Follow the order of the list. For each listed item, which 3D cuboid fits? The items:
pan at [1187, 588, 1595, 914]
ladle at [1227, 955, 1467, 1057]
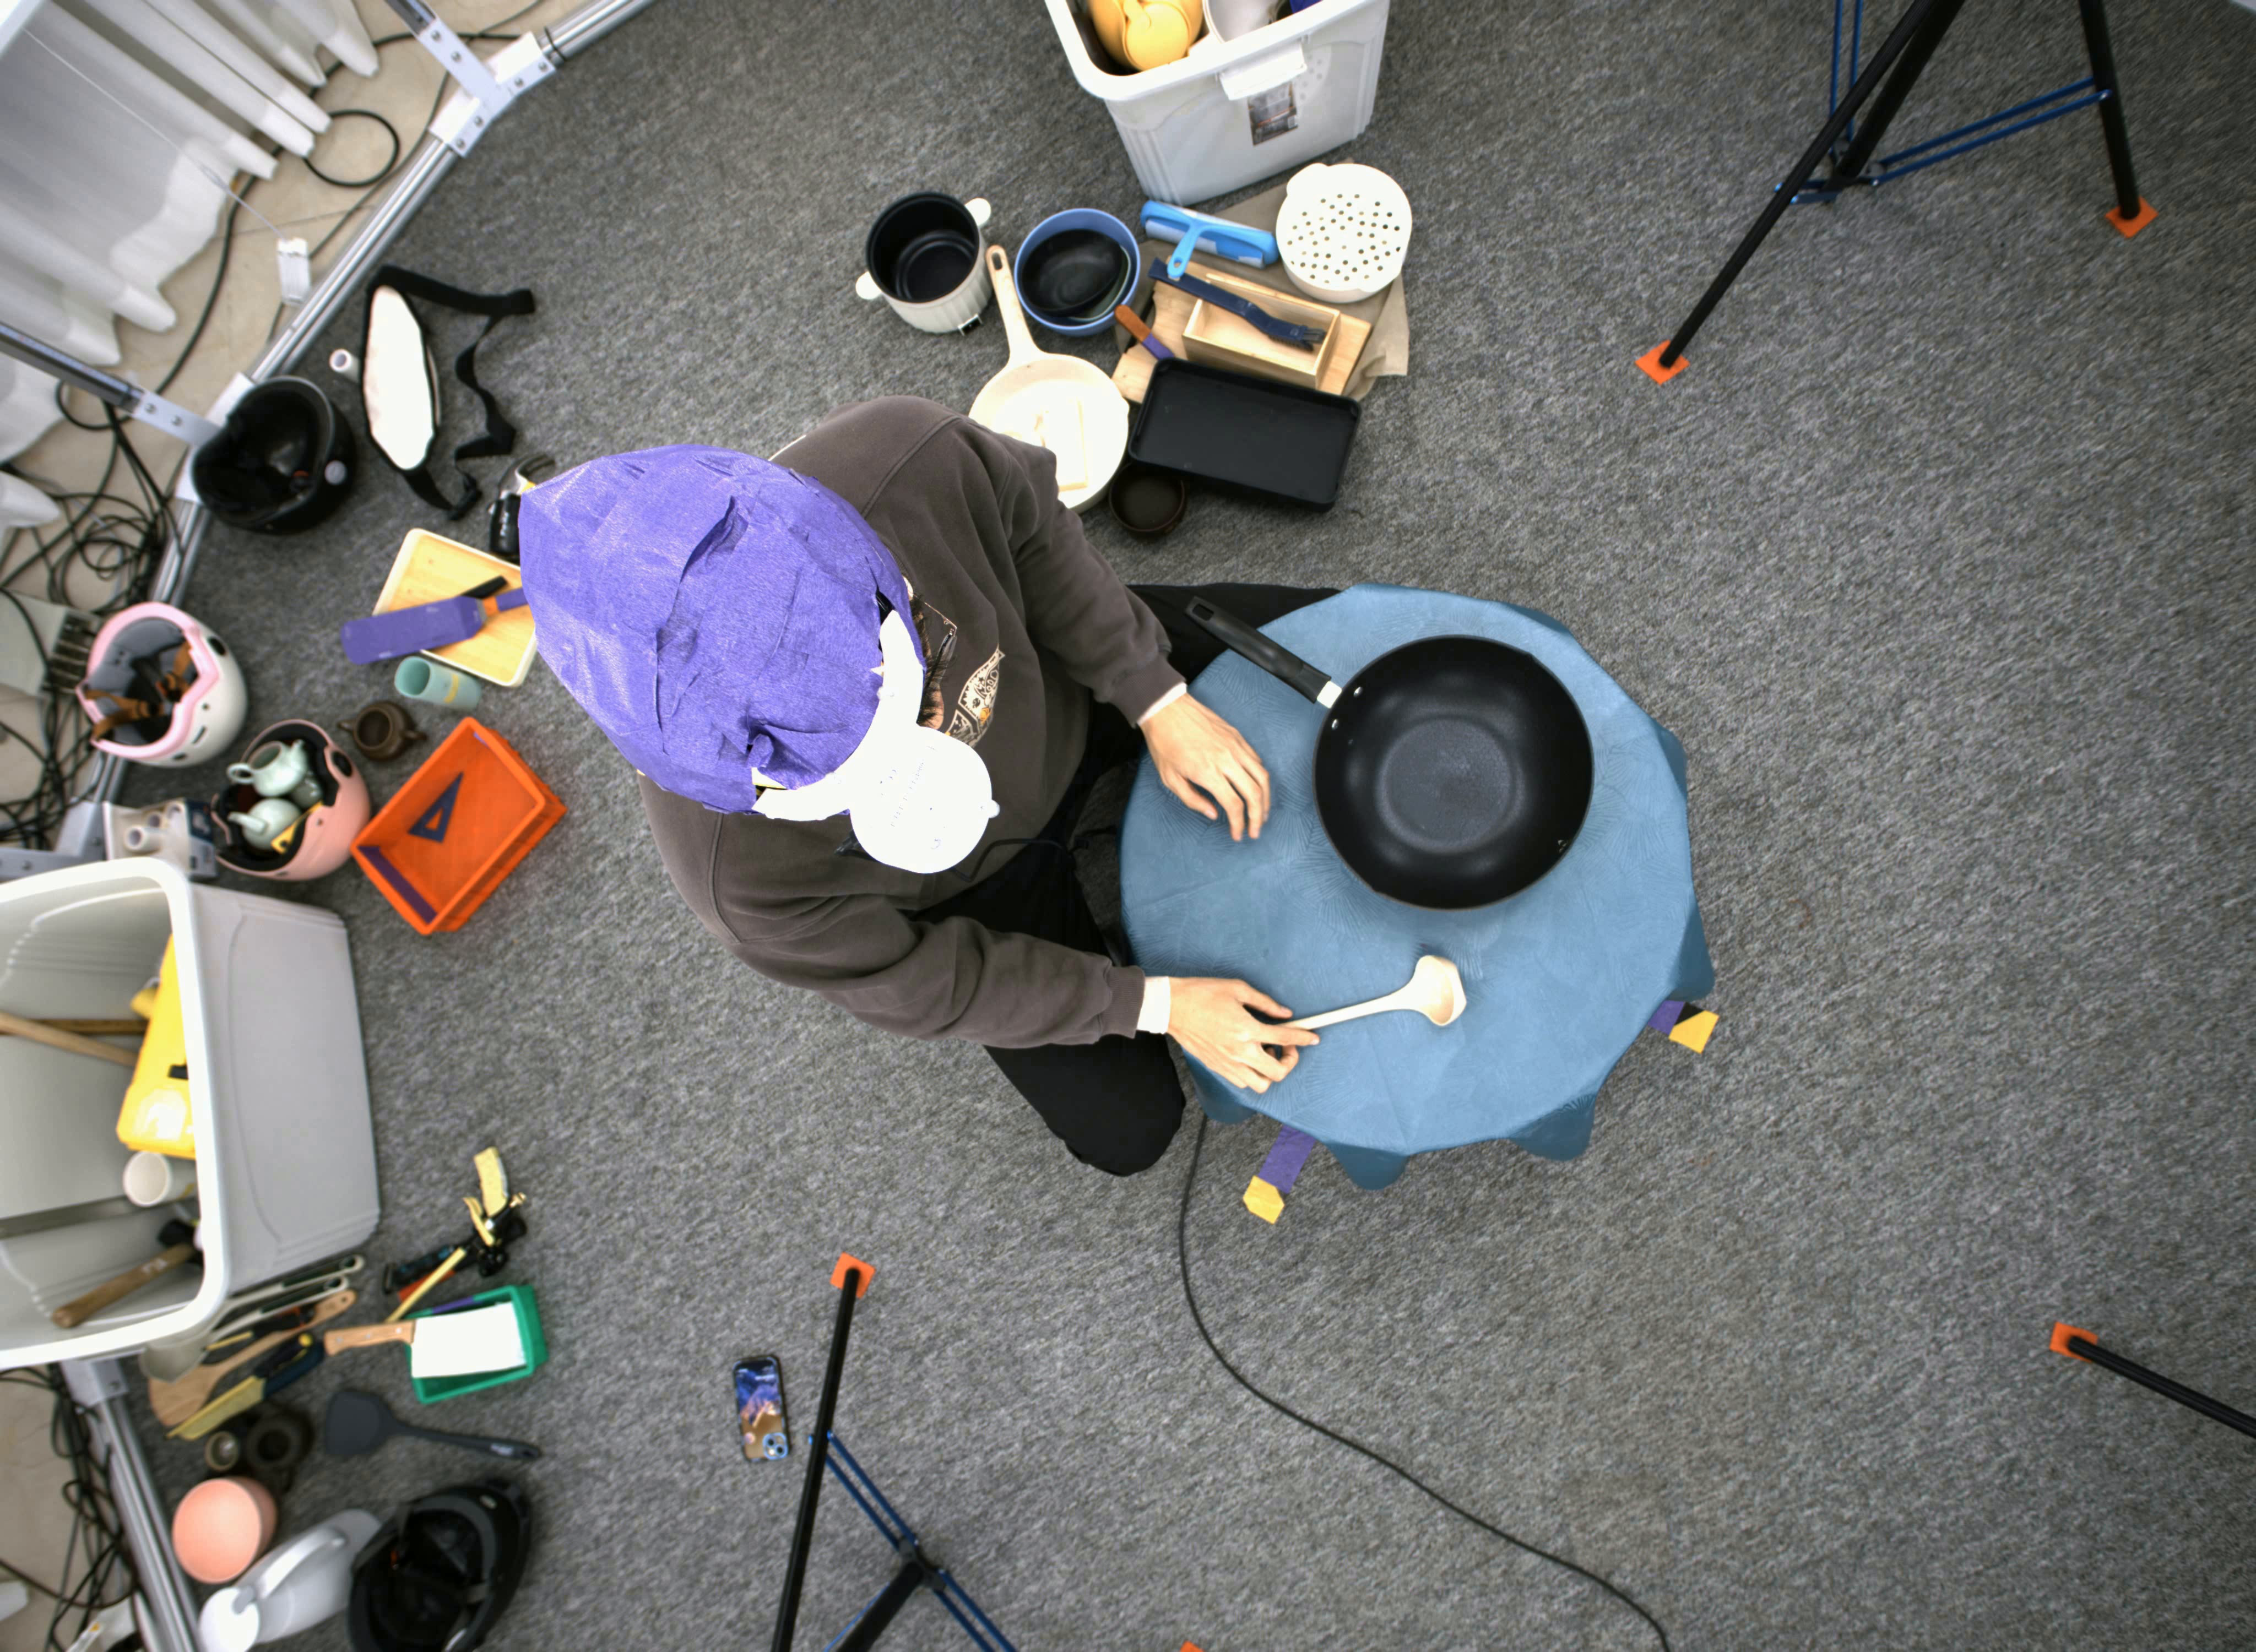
[{"bbox_3d":[0.255,-0.102,1.426,0.462,0.087,0.289,35,94,11],"label":"pan"},{"bbox_3d":[0.221,0.196,1.423,0.256,0.073,0.072,-18,84,8],"label":"ladle"}]
